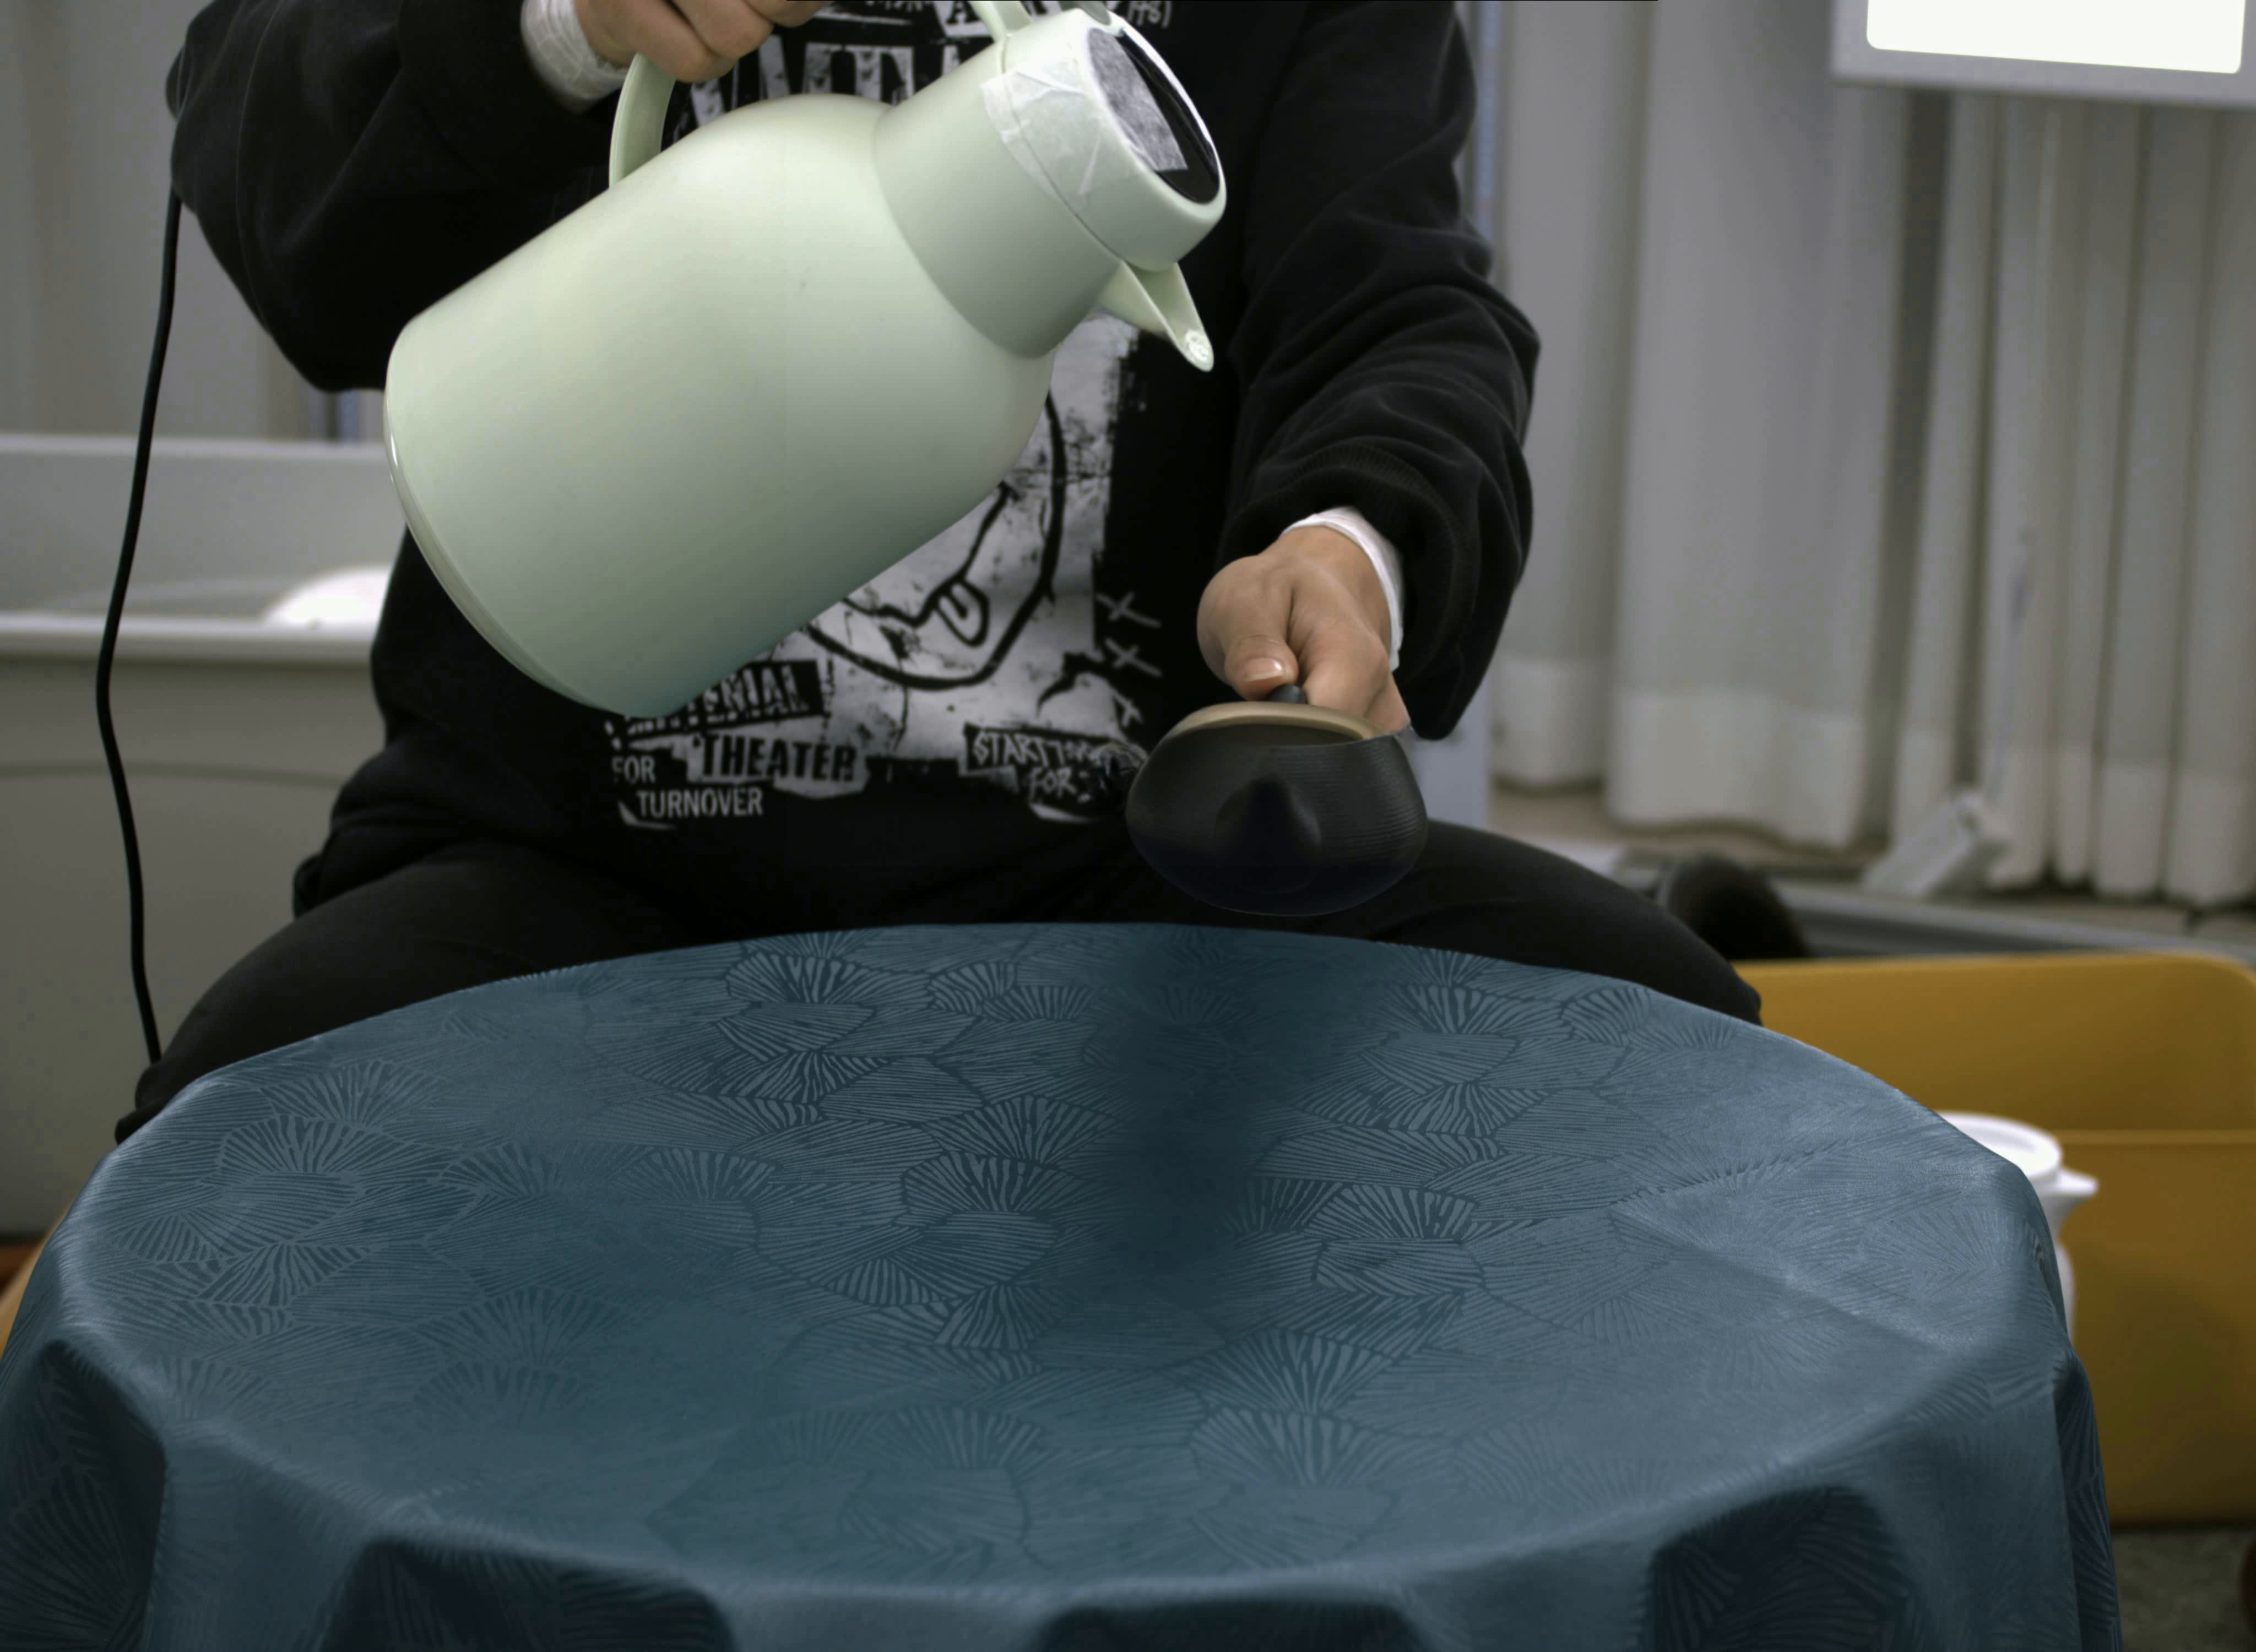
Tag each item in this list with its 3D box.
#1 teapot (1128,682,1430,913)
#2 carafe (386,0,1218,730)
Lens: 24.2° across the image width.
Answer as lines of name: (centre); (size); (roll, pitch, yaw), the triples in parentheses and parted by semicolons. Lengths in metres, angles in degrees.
teapot: (0.046, -0.006, 1.576); (0.090, 0.053, 0.132); (6, 15, 3)
carafe: (-0.099, -0.161, 1.577); (0.256, 0.186, 0.145); (-36, -6, 24)
